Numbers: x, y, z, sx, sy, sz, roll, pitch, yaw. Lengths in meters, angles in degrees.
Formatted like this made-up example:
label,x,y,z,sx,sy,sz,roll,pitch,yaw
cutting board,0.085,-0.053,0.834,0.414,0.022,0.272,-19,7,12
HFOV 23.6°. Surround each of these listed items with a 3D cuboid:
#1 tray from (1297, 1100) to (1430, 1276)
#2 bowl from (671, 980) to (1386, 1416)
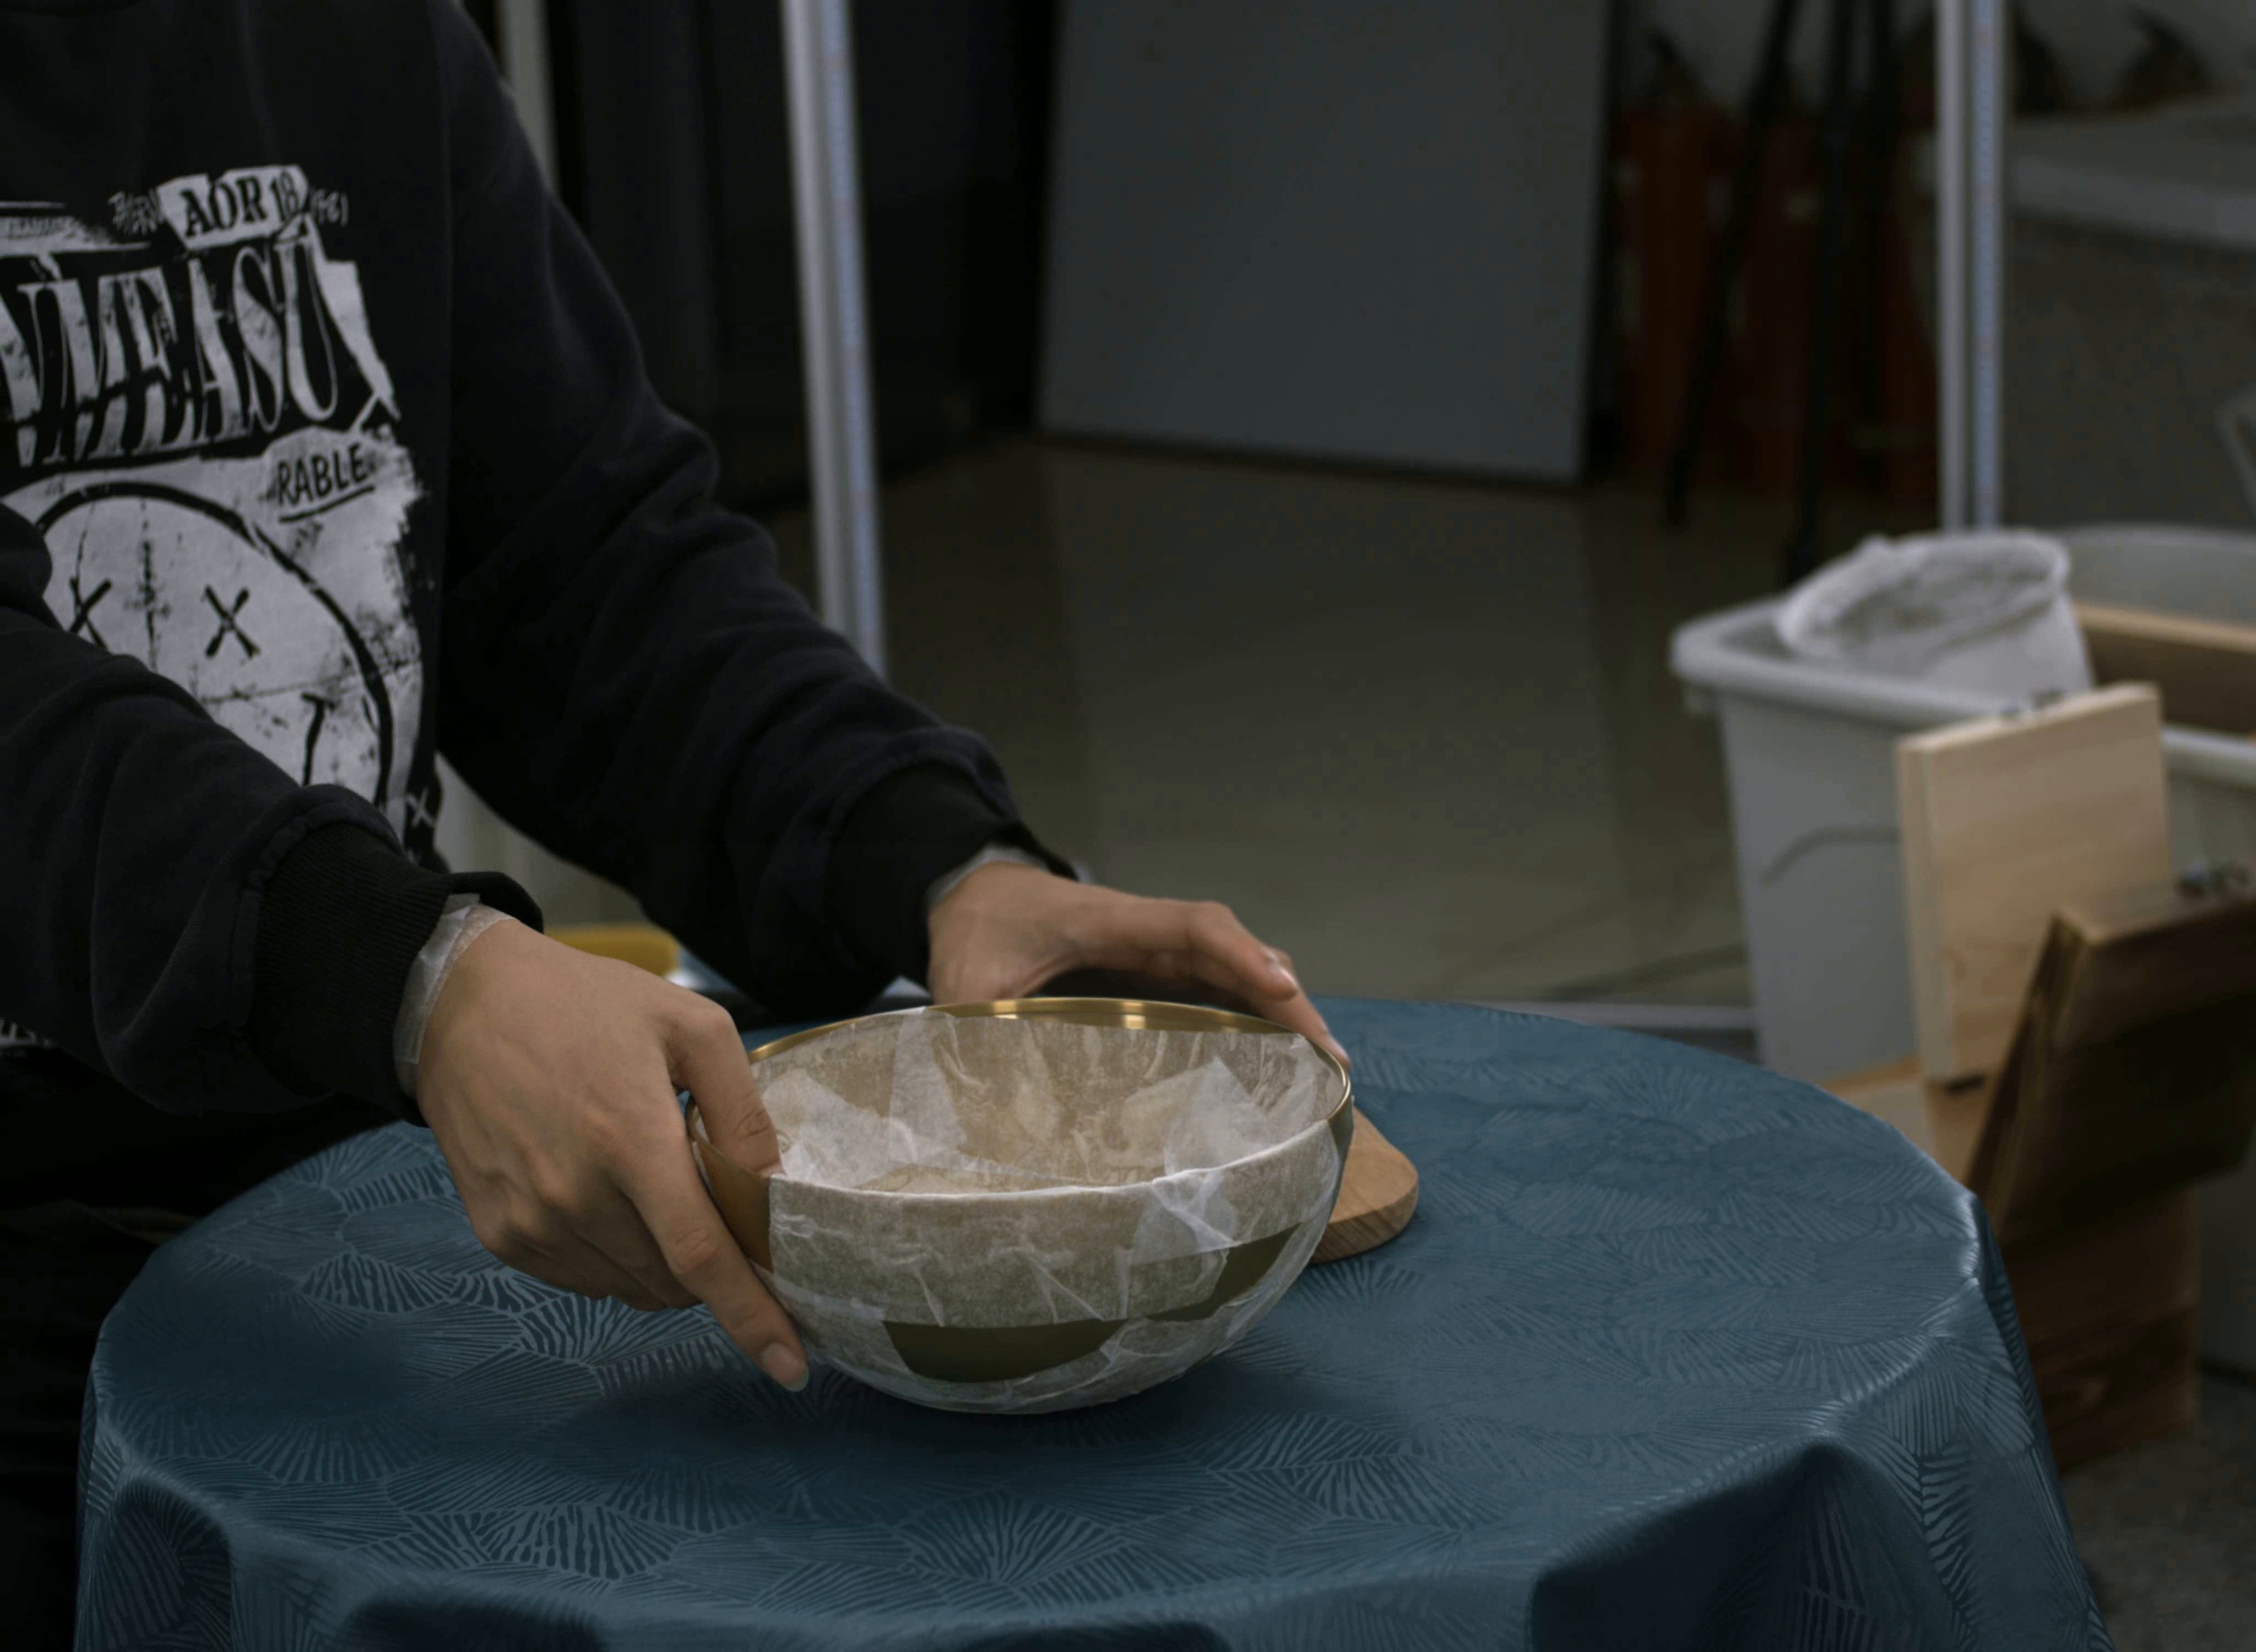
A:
label,x,y,z,sx,sy,sz,roll,pitch,yaw
tray,0.030,0.108,1.786,0.100,0.020,0.233,-9,17,-13
bowl,-0.029,0.118,1.596,0.212,0.095,0.215,-4,14,0
